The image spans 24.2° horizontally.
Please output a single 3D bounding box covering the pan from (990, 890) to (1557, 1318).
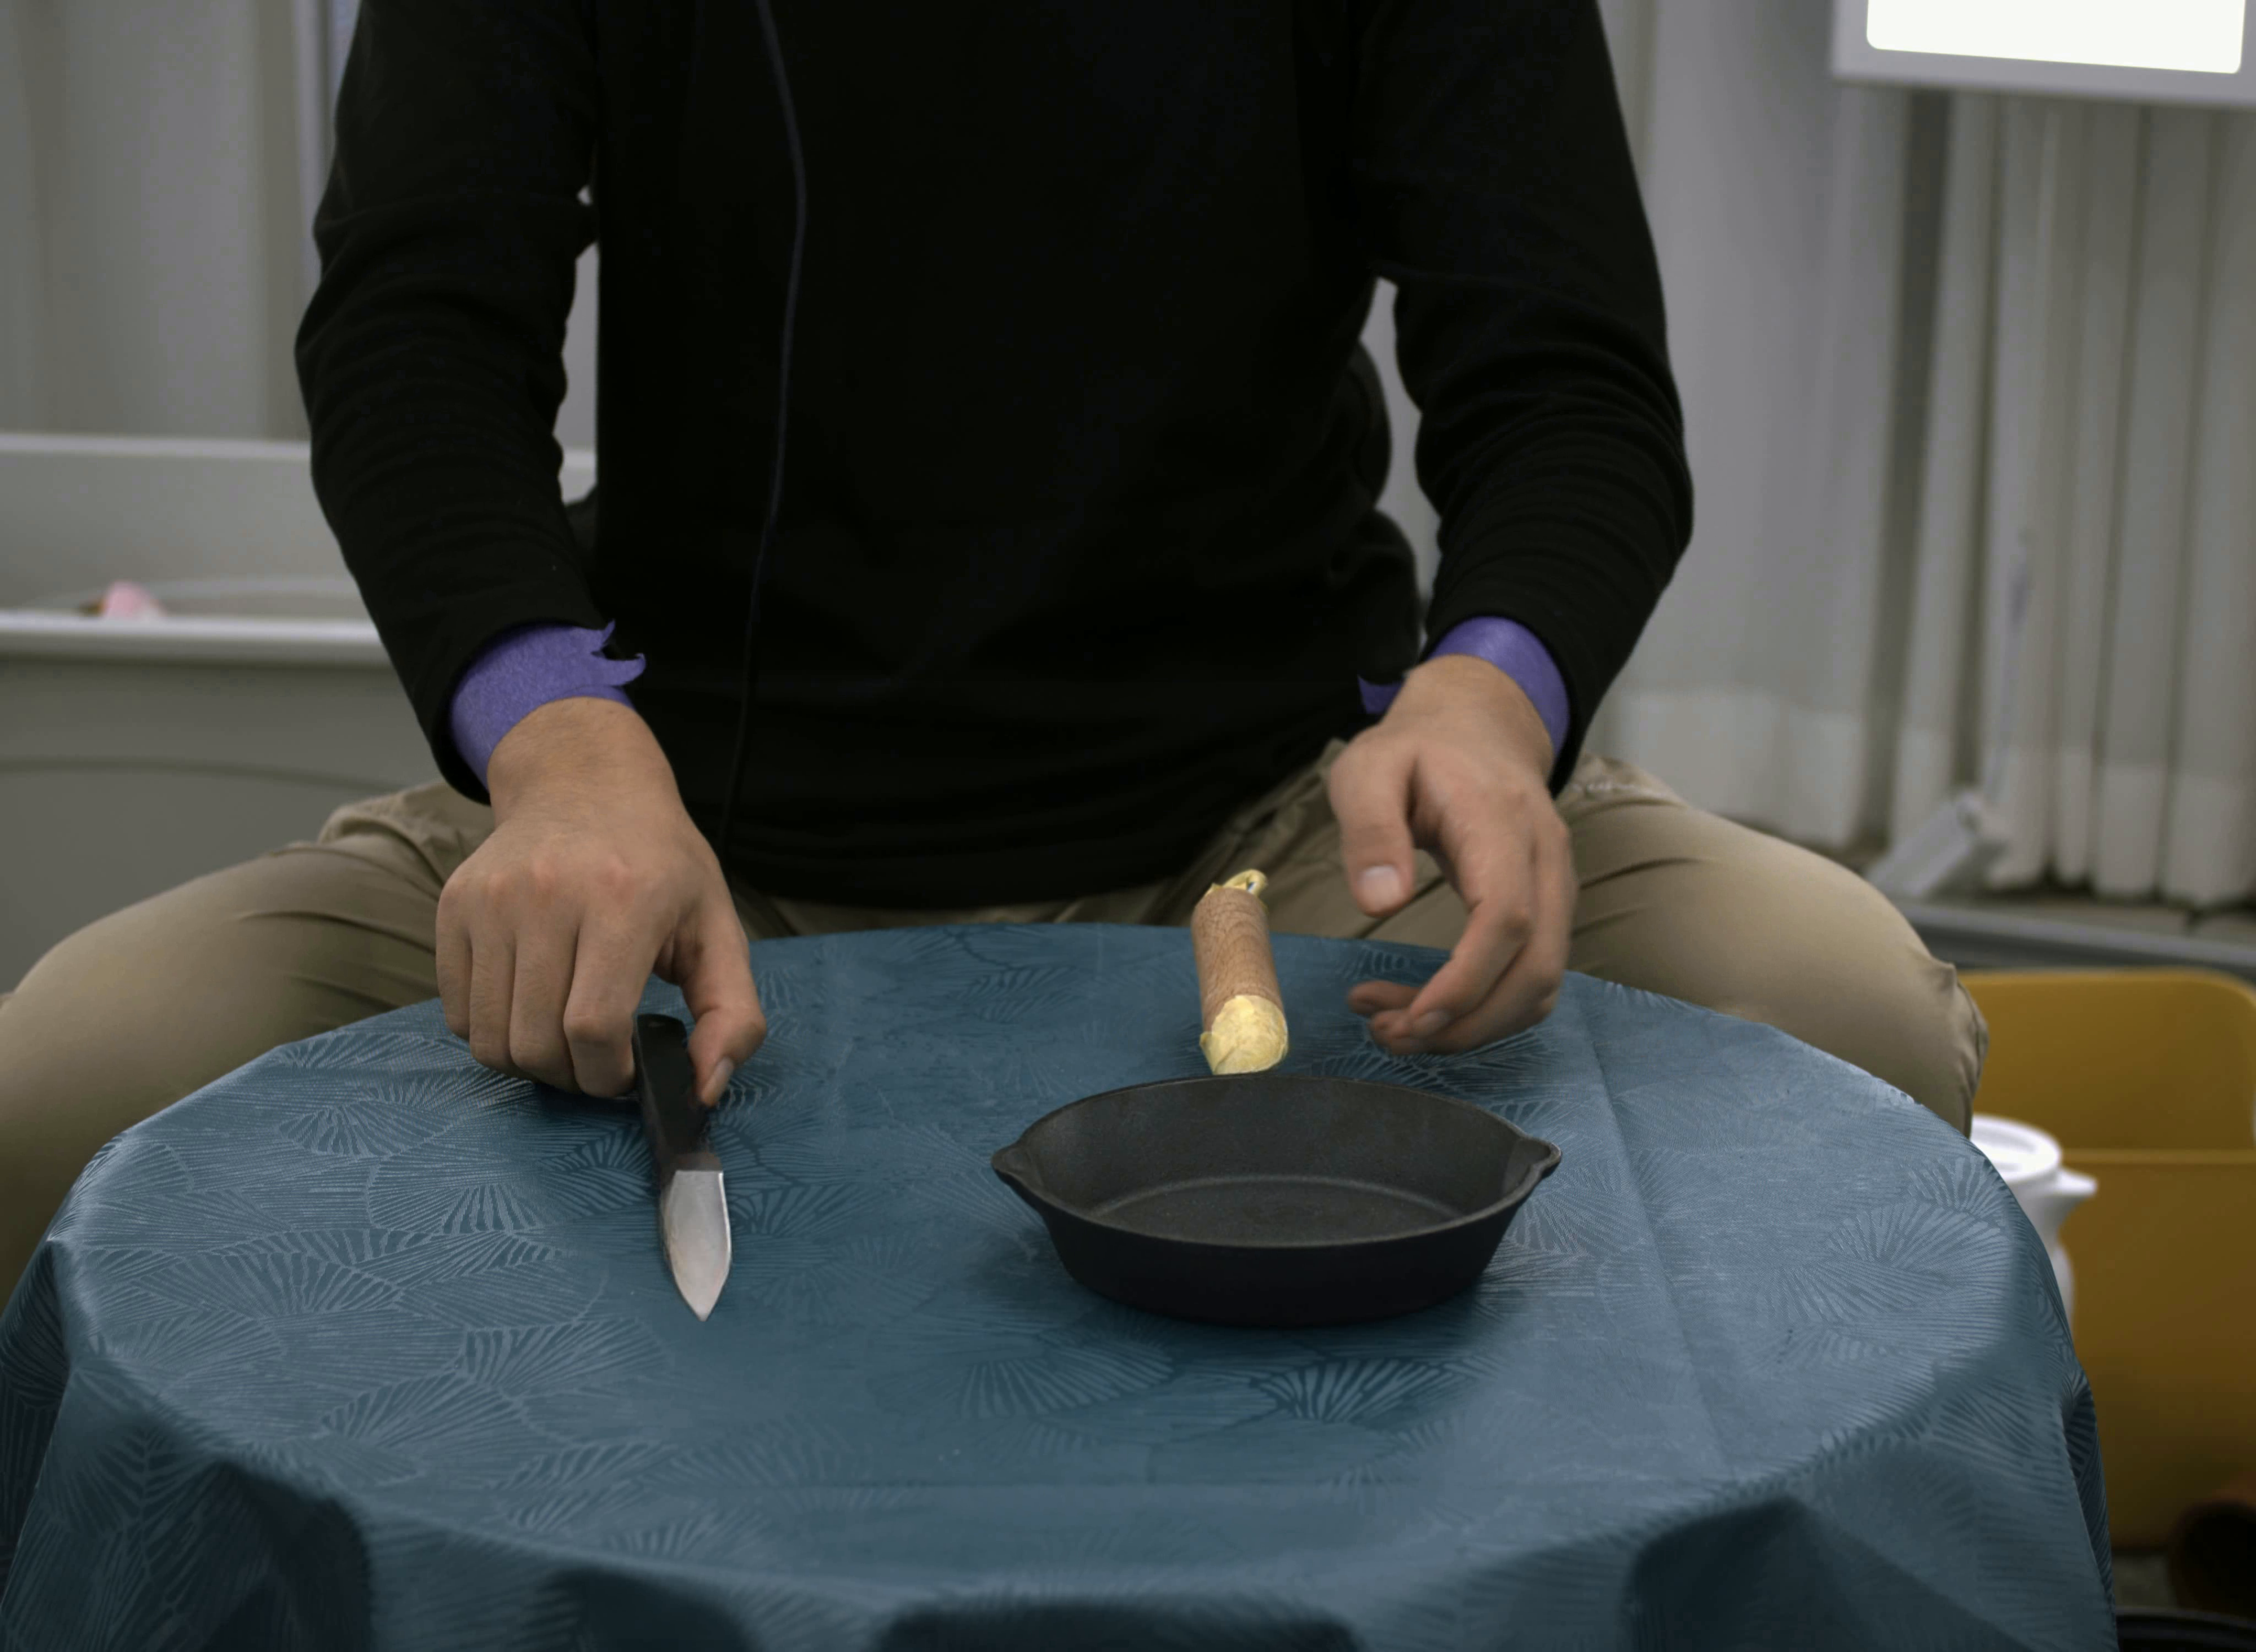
[{"bbox_3d":[0.042,0.083,1.642,0.168,0.050,0.322,0,15,-1],"label":"pan"}]

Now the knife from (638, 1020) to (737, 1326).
[{"bbox_3d":[-0.137,0.106,1.621,0.024,0.016,0.236,2,18,-9],"label":"knife"}]
